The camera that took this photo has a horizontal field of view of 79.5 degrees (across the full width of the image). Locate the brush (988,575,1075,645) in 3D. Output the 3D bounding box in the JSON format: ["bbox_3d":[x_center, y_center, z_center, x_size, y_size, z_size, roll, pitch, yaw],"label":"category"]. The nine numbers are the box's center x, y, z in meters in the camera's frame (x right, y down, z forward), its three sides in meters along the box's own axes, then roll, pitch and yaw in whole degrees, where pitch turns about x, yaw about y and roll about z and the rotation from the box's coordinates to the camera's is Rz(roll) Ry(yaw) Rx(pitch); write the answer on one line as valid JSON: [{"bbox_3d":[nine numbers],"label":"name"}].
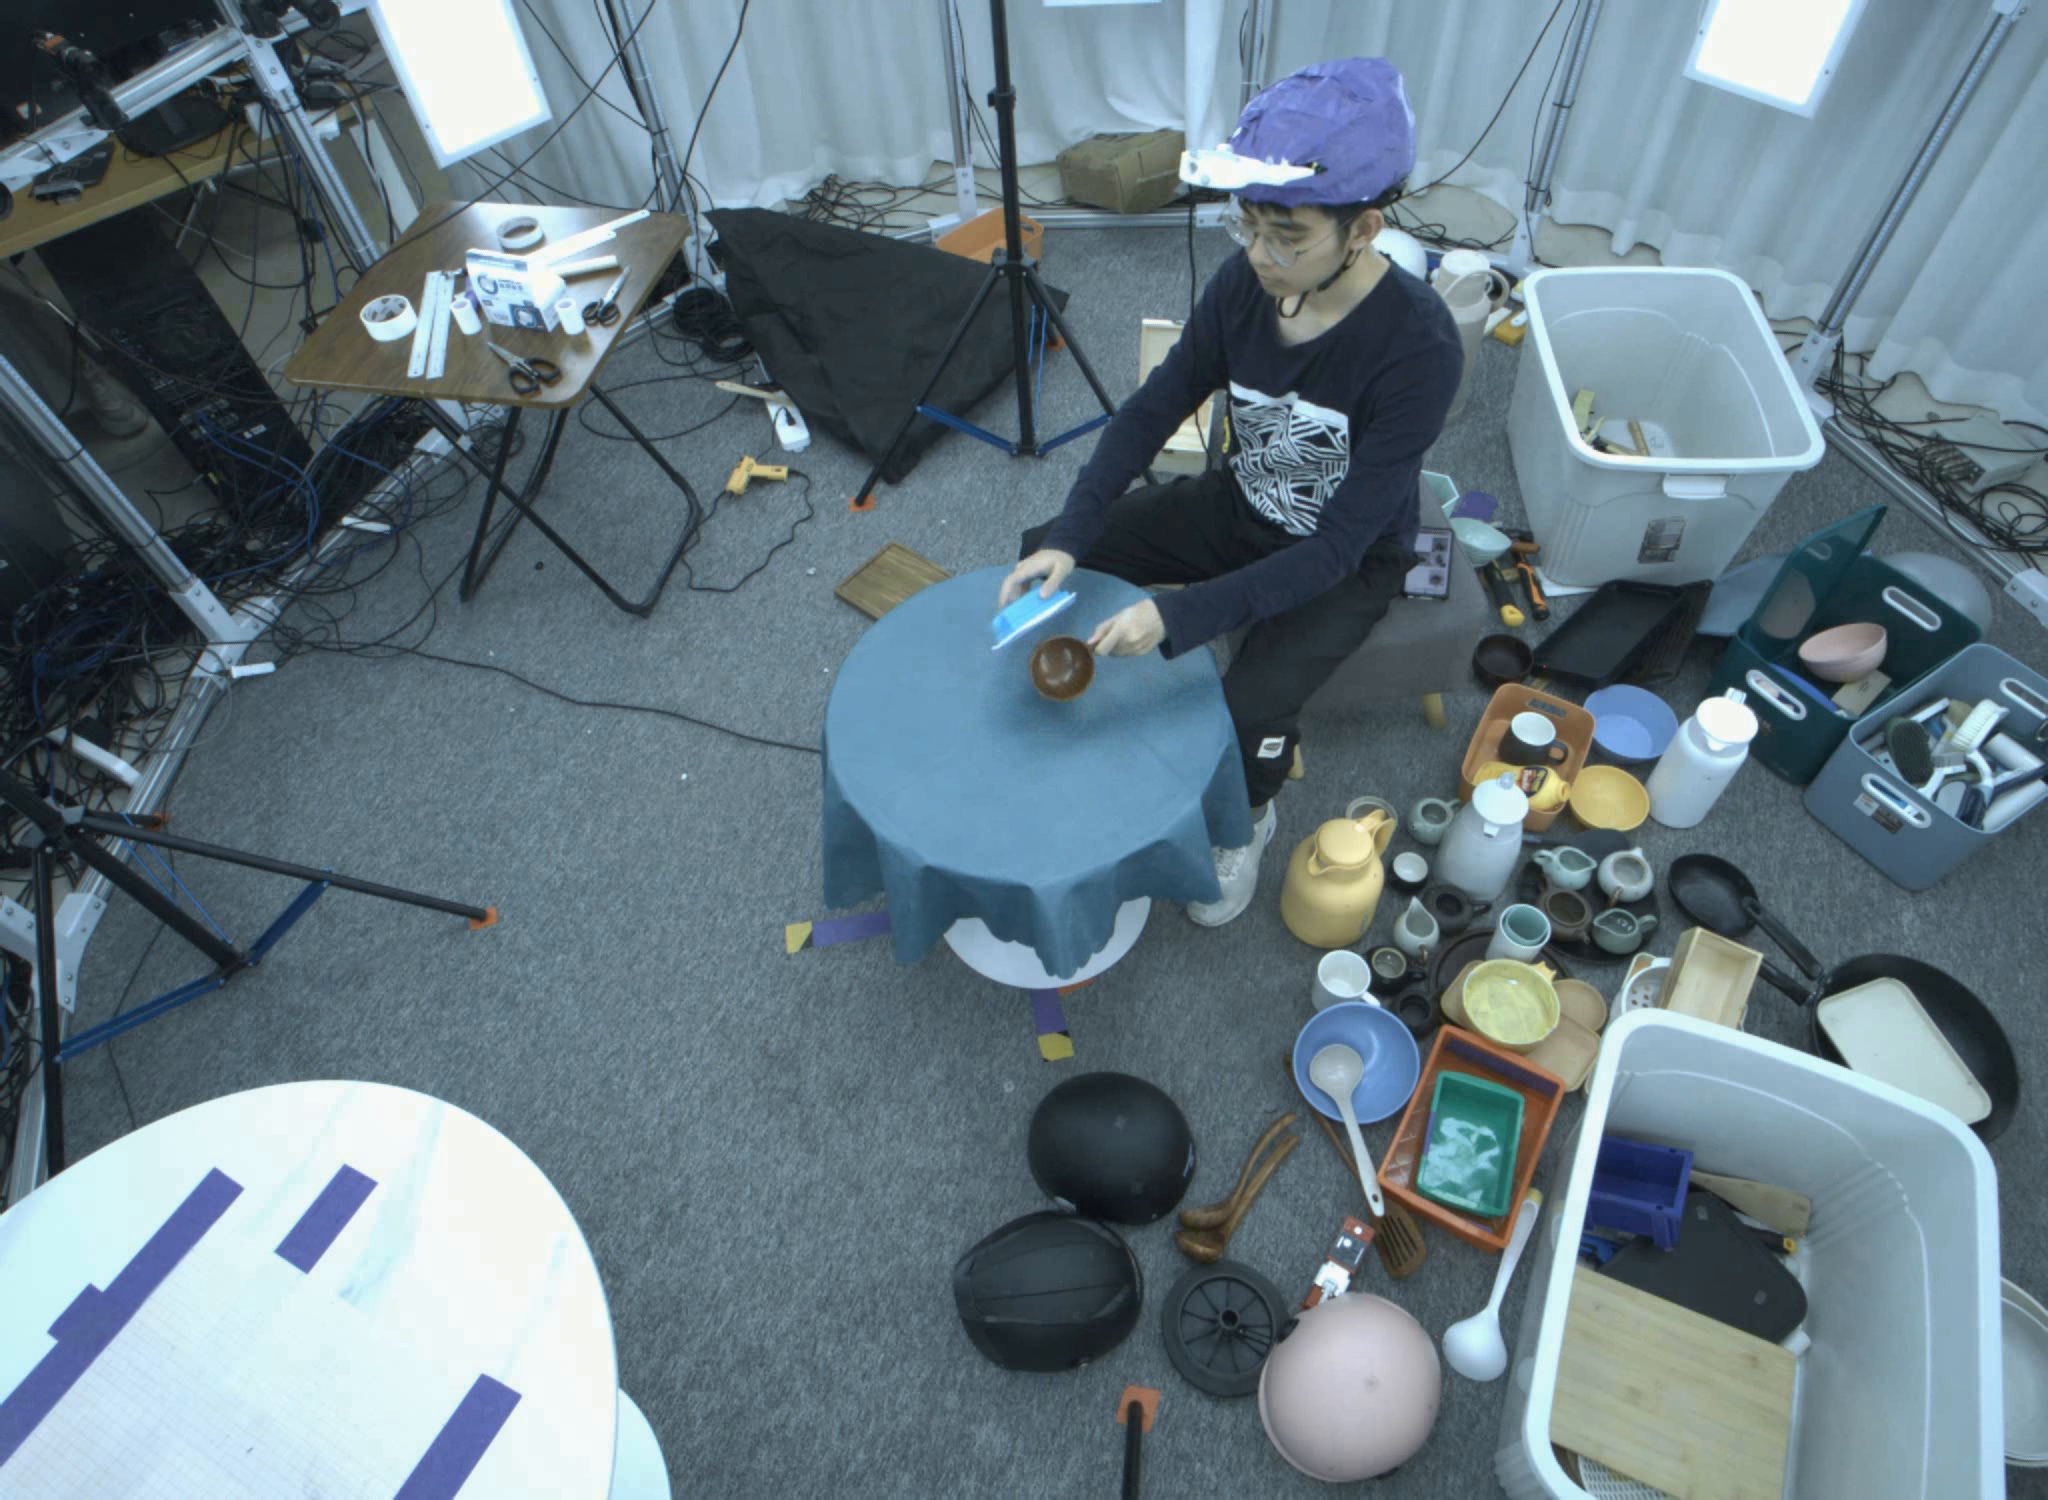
[{"bbox_3d":[0.004,-0.207,1.786,0.145,0.082,0.056,-40,100,-29],"label":"brush"}]

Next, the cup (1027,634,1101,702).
[{"bbox_3d":[0.060,-0.125,1.767,0.119,0.067,0.097,-37,104,-4],"label":"cup"}]
